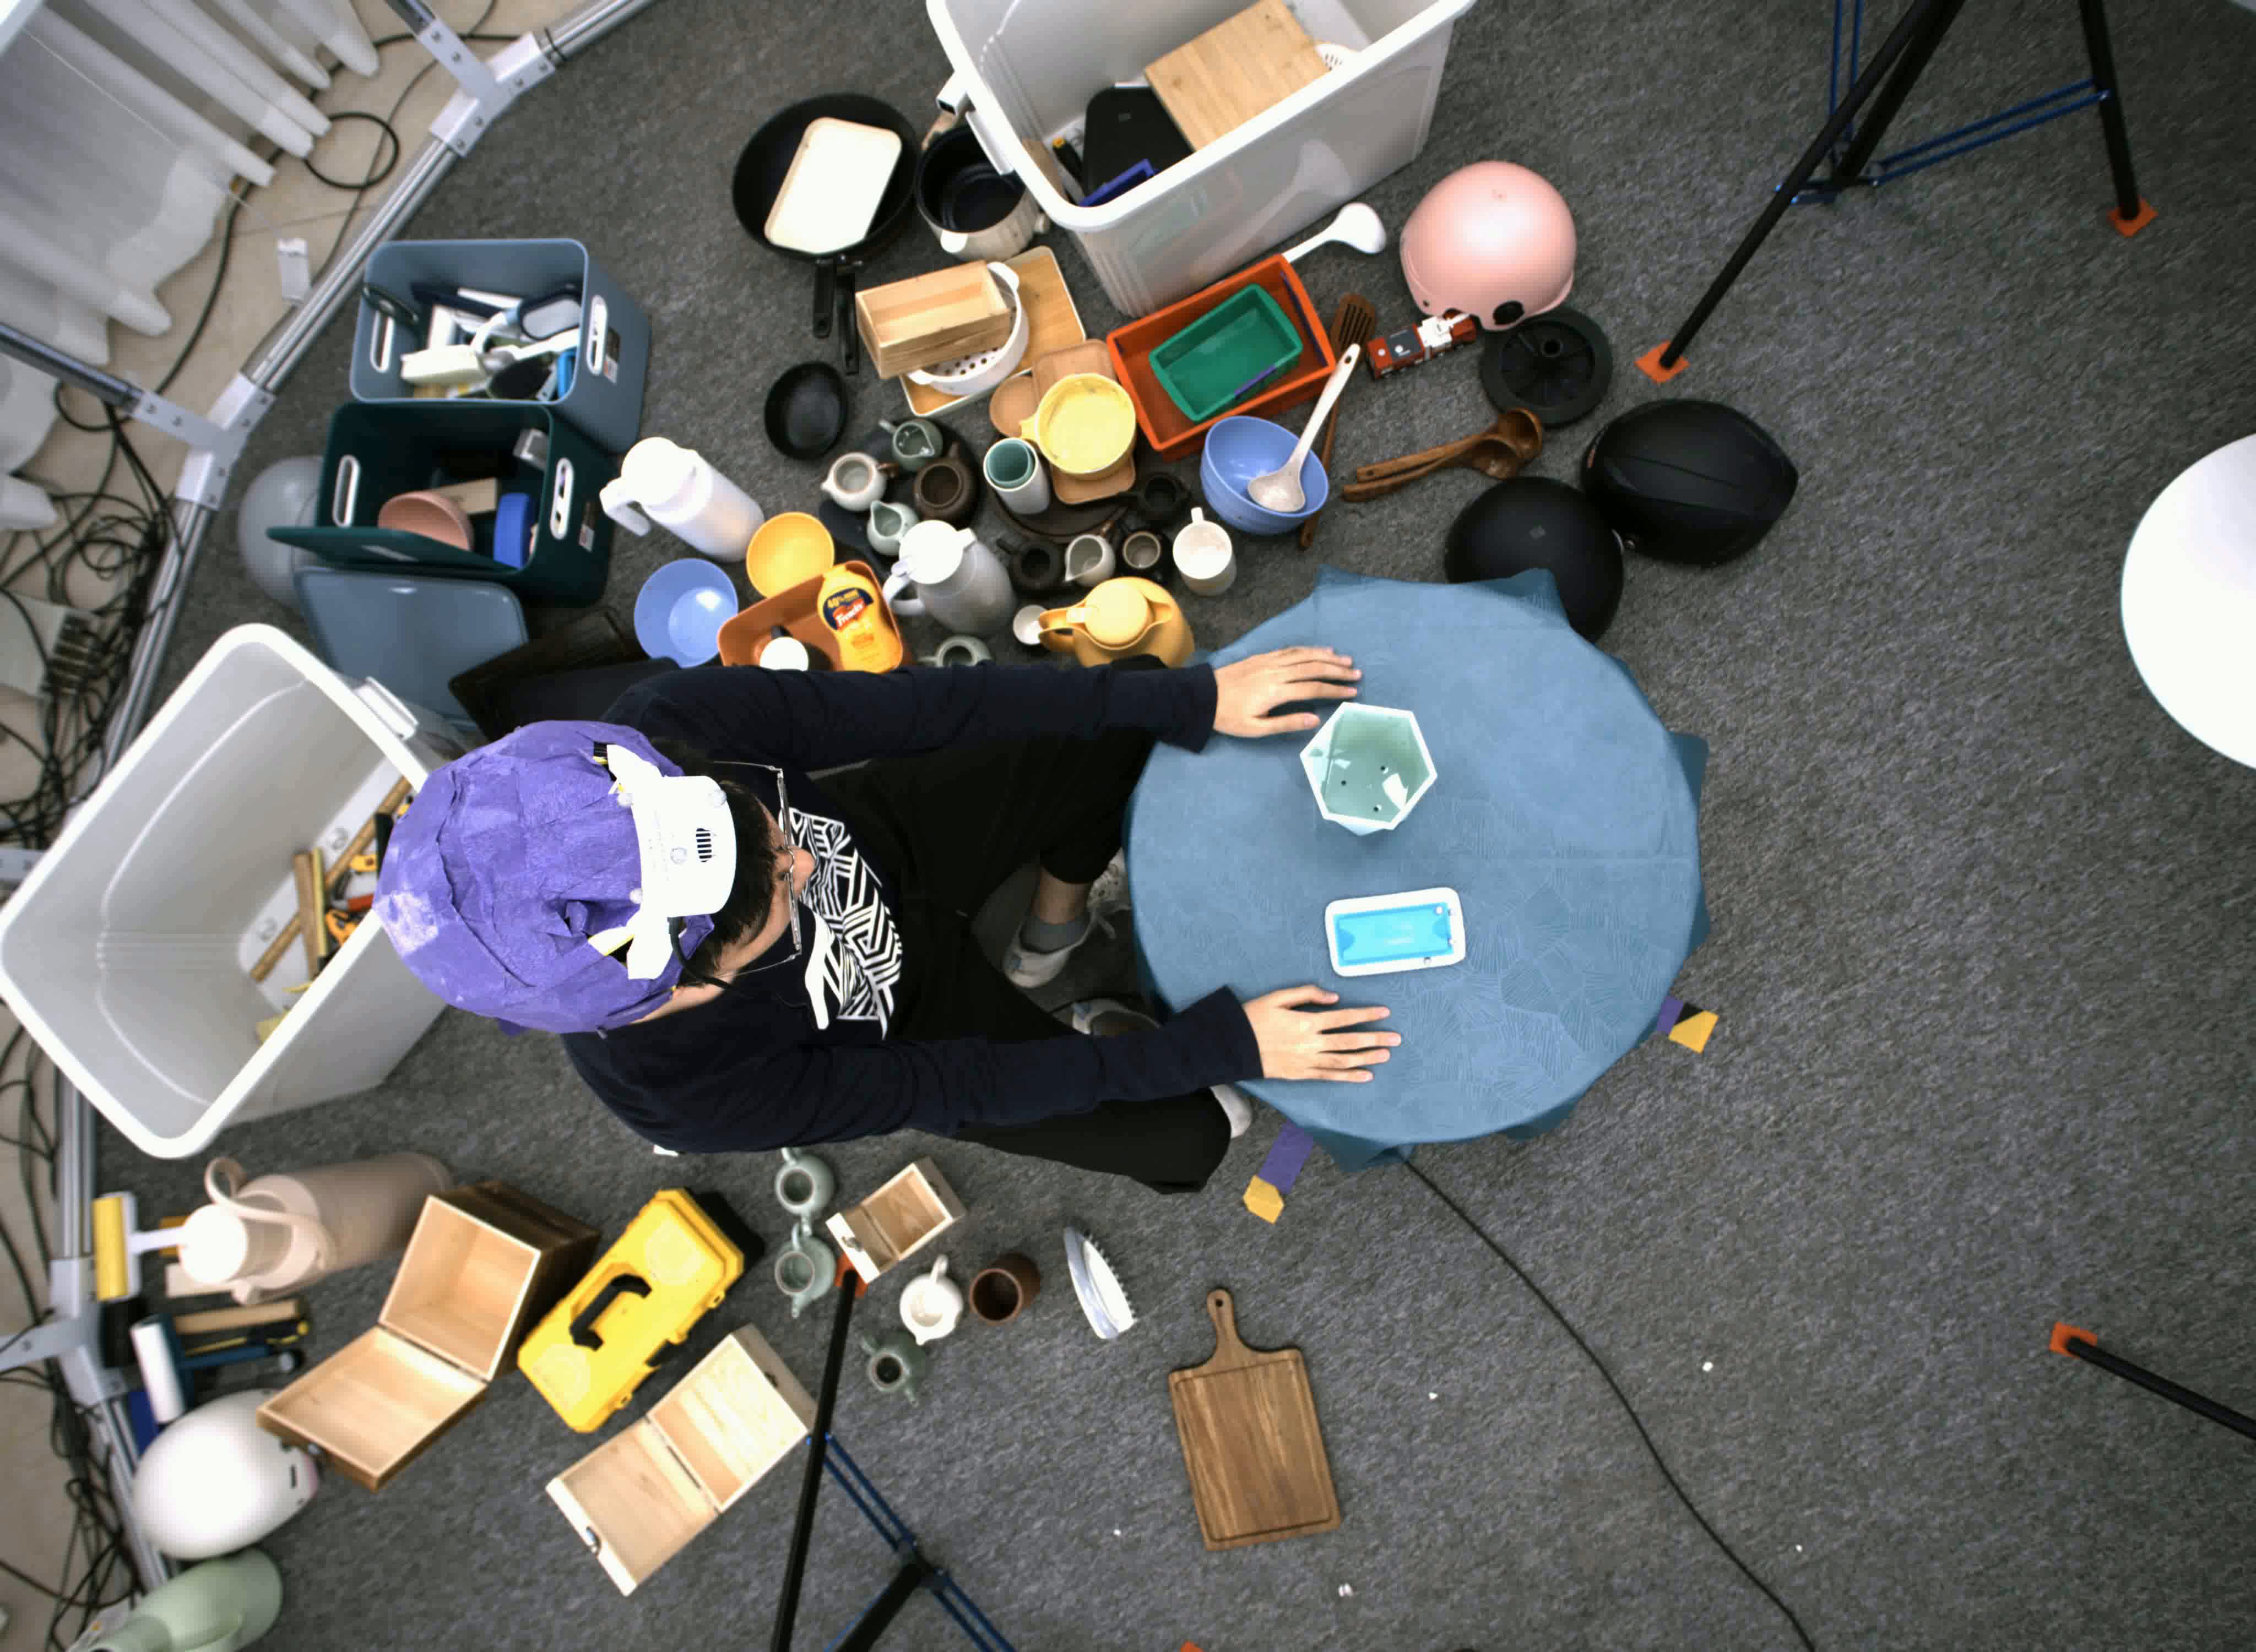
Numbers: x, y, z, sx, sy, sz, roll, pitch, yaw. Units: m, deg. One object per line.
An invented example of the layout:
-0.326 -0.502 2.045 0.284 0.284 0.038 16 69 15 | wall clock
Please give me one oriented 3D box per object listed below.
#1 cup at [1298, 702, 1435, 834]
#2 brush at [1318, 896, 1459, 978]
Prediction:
0.242 -0.052 1.388 0.116 0.163 0.130 -22 82 9 | cup
0.269 0.110 1.426 0.144 0.056 0.083 -5 82 7 | brush
